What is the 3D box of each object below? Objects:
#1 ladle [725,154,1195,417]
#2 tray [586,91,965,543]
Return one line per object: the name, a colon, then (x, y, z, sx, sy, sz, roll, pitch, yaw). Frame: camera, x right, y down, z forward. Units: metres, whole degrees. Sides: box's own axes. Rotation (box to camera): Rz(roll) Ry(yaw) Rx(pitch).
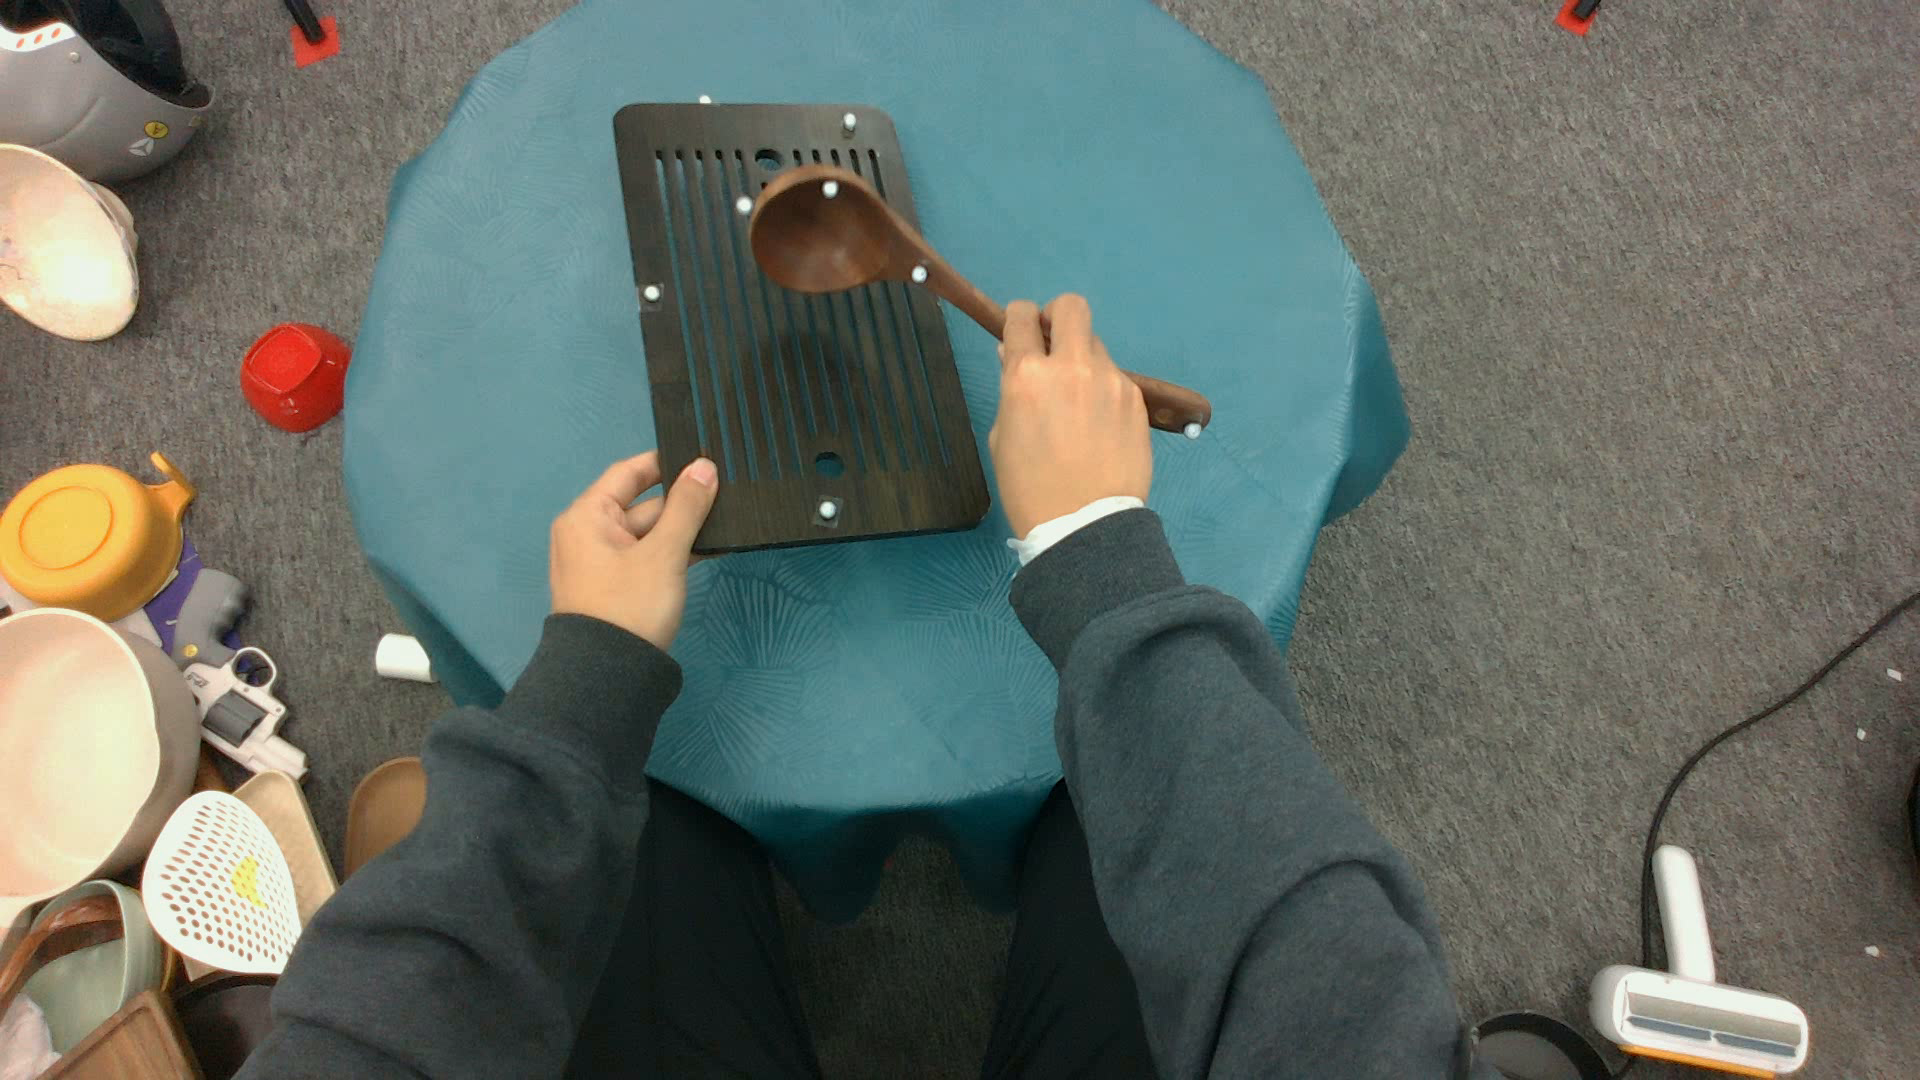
ladle: (-0.003, -0.120, 0.710, 0.260, 0.076, 0.065, 31, 51, 10)
tray: (-0.110, -0.137, 0.774, 0.170, 0.018, 0.307, -5, 62, -17)
